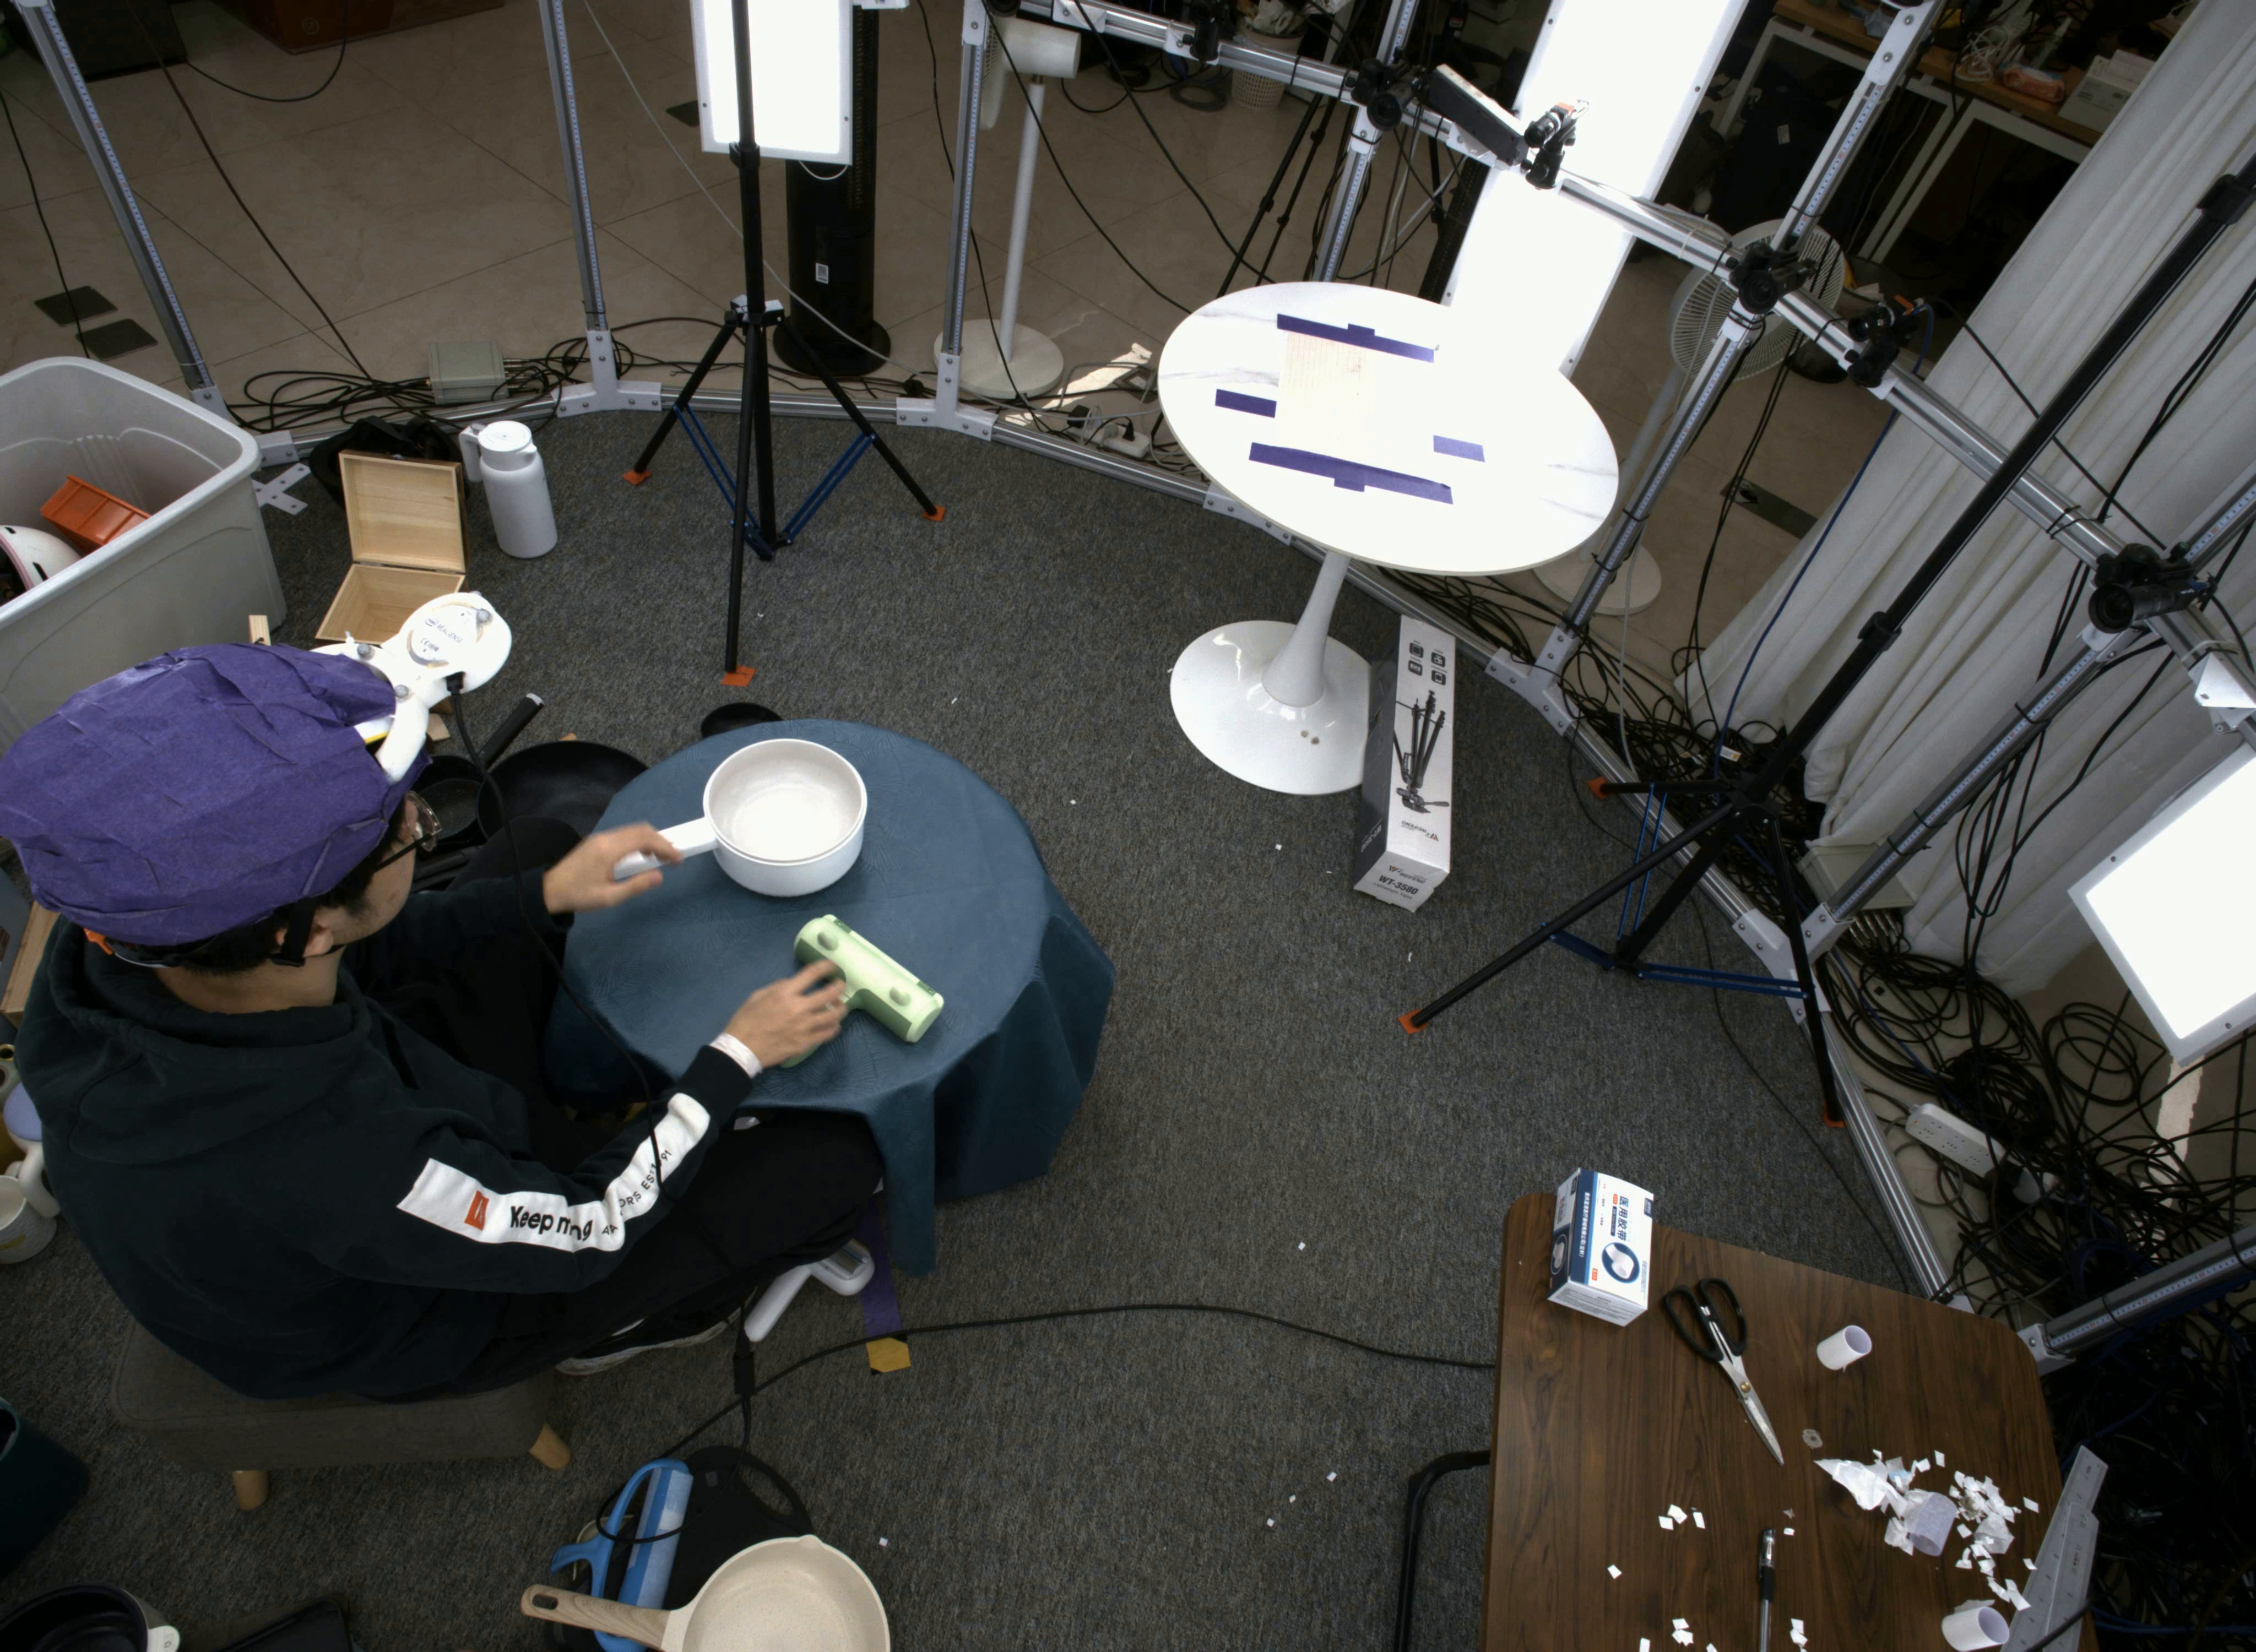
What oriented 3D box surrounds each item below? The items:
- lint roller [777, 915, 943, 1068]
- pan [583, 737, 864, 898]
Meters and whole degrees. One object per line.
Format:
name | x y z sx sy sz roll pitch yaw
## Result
lint roller | -0.350 0.208 1.547 0.195 0.084 0.183 35 48 12
pan | -0.506 0.017 1.631 0.356 0.104 0.196 -20 61 -26
